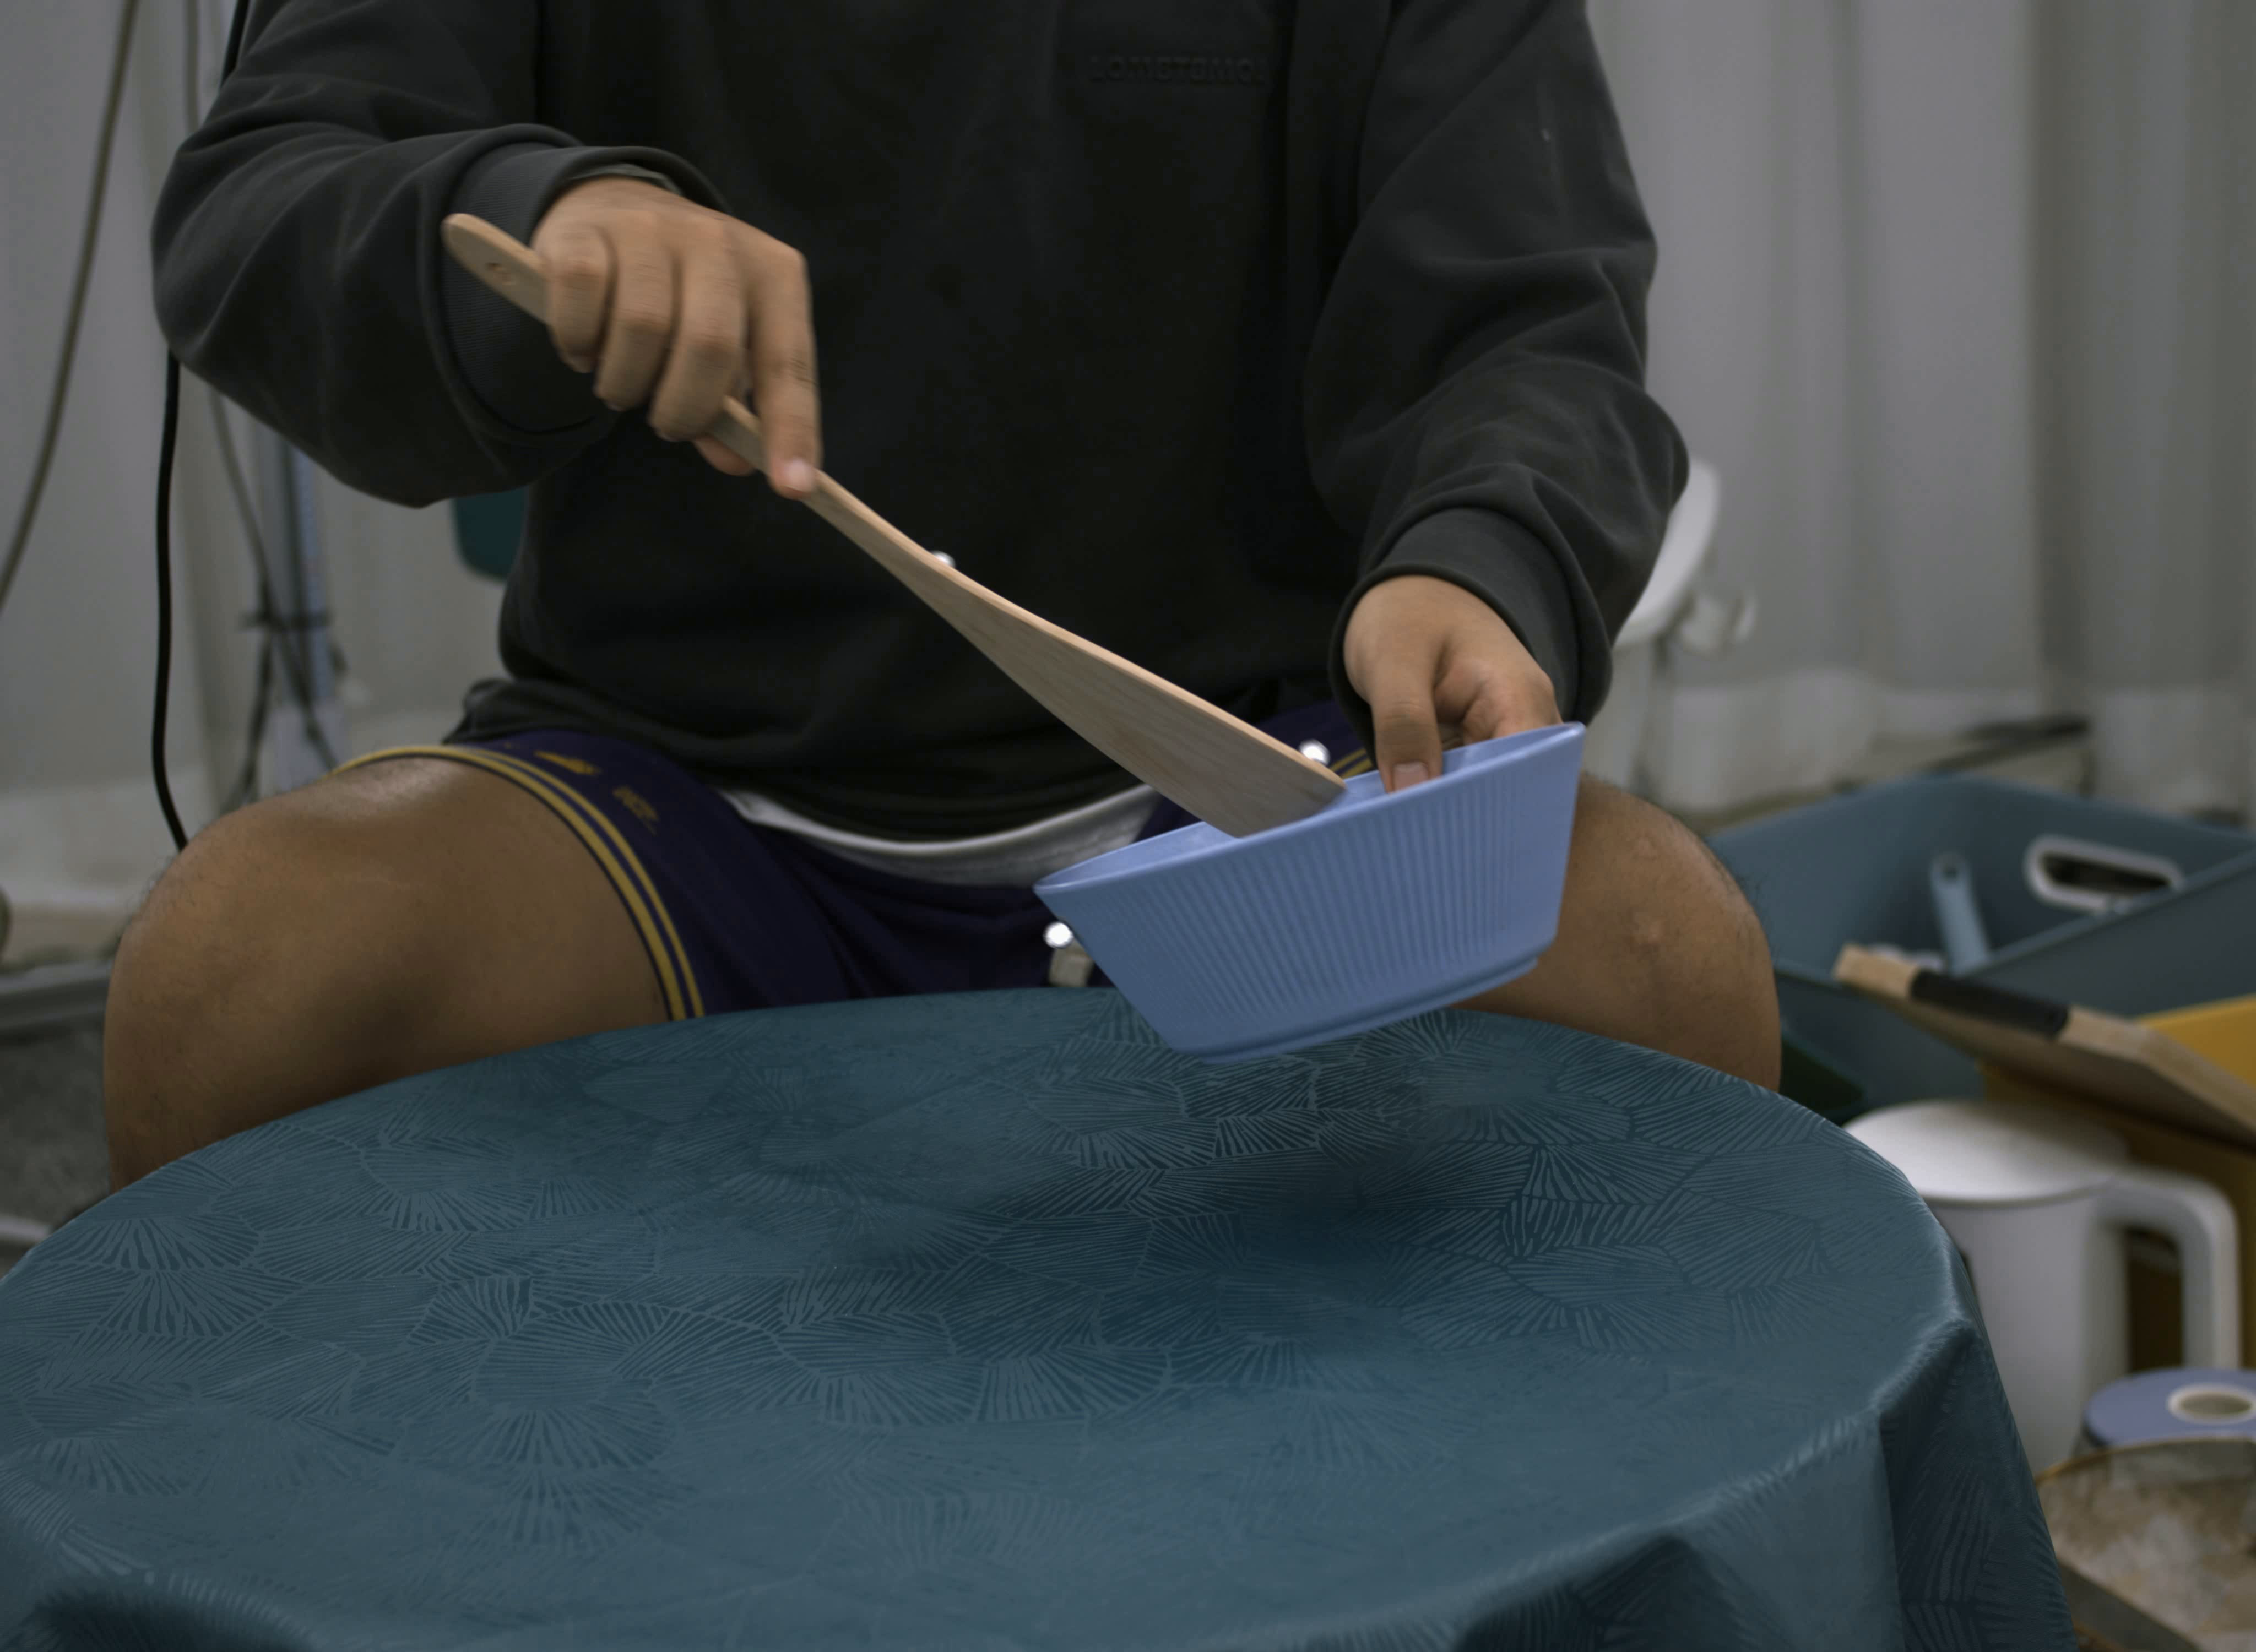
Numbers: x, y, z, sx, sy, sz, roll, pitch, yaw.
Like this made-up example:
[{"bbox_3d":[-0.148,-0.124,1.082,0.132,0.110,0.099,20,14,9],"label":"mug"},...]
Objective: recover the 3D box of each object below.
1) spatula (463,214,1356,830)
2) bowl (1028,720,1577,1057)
[{"bbox_3d":[-0.071,-0.090,1.674,0.016,0.328,0.079,-51,-5,-22],"label":"spatula"},{"bbox_3d":[0.062,0.023,1.677,0.175,0.070,0.176,-17,2,0],"label":"bowl"}]
